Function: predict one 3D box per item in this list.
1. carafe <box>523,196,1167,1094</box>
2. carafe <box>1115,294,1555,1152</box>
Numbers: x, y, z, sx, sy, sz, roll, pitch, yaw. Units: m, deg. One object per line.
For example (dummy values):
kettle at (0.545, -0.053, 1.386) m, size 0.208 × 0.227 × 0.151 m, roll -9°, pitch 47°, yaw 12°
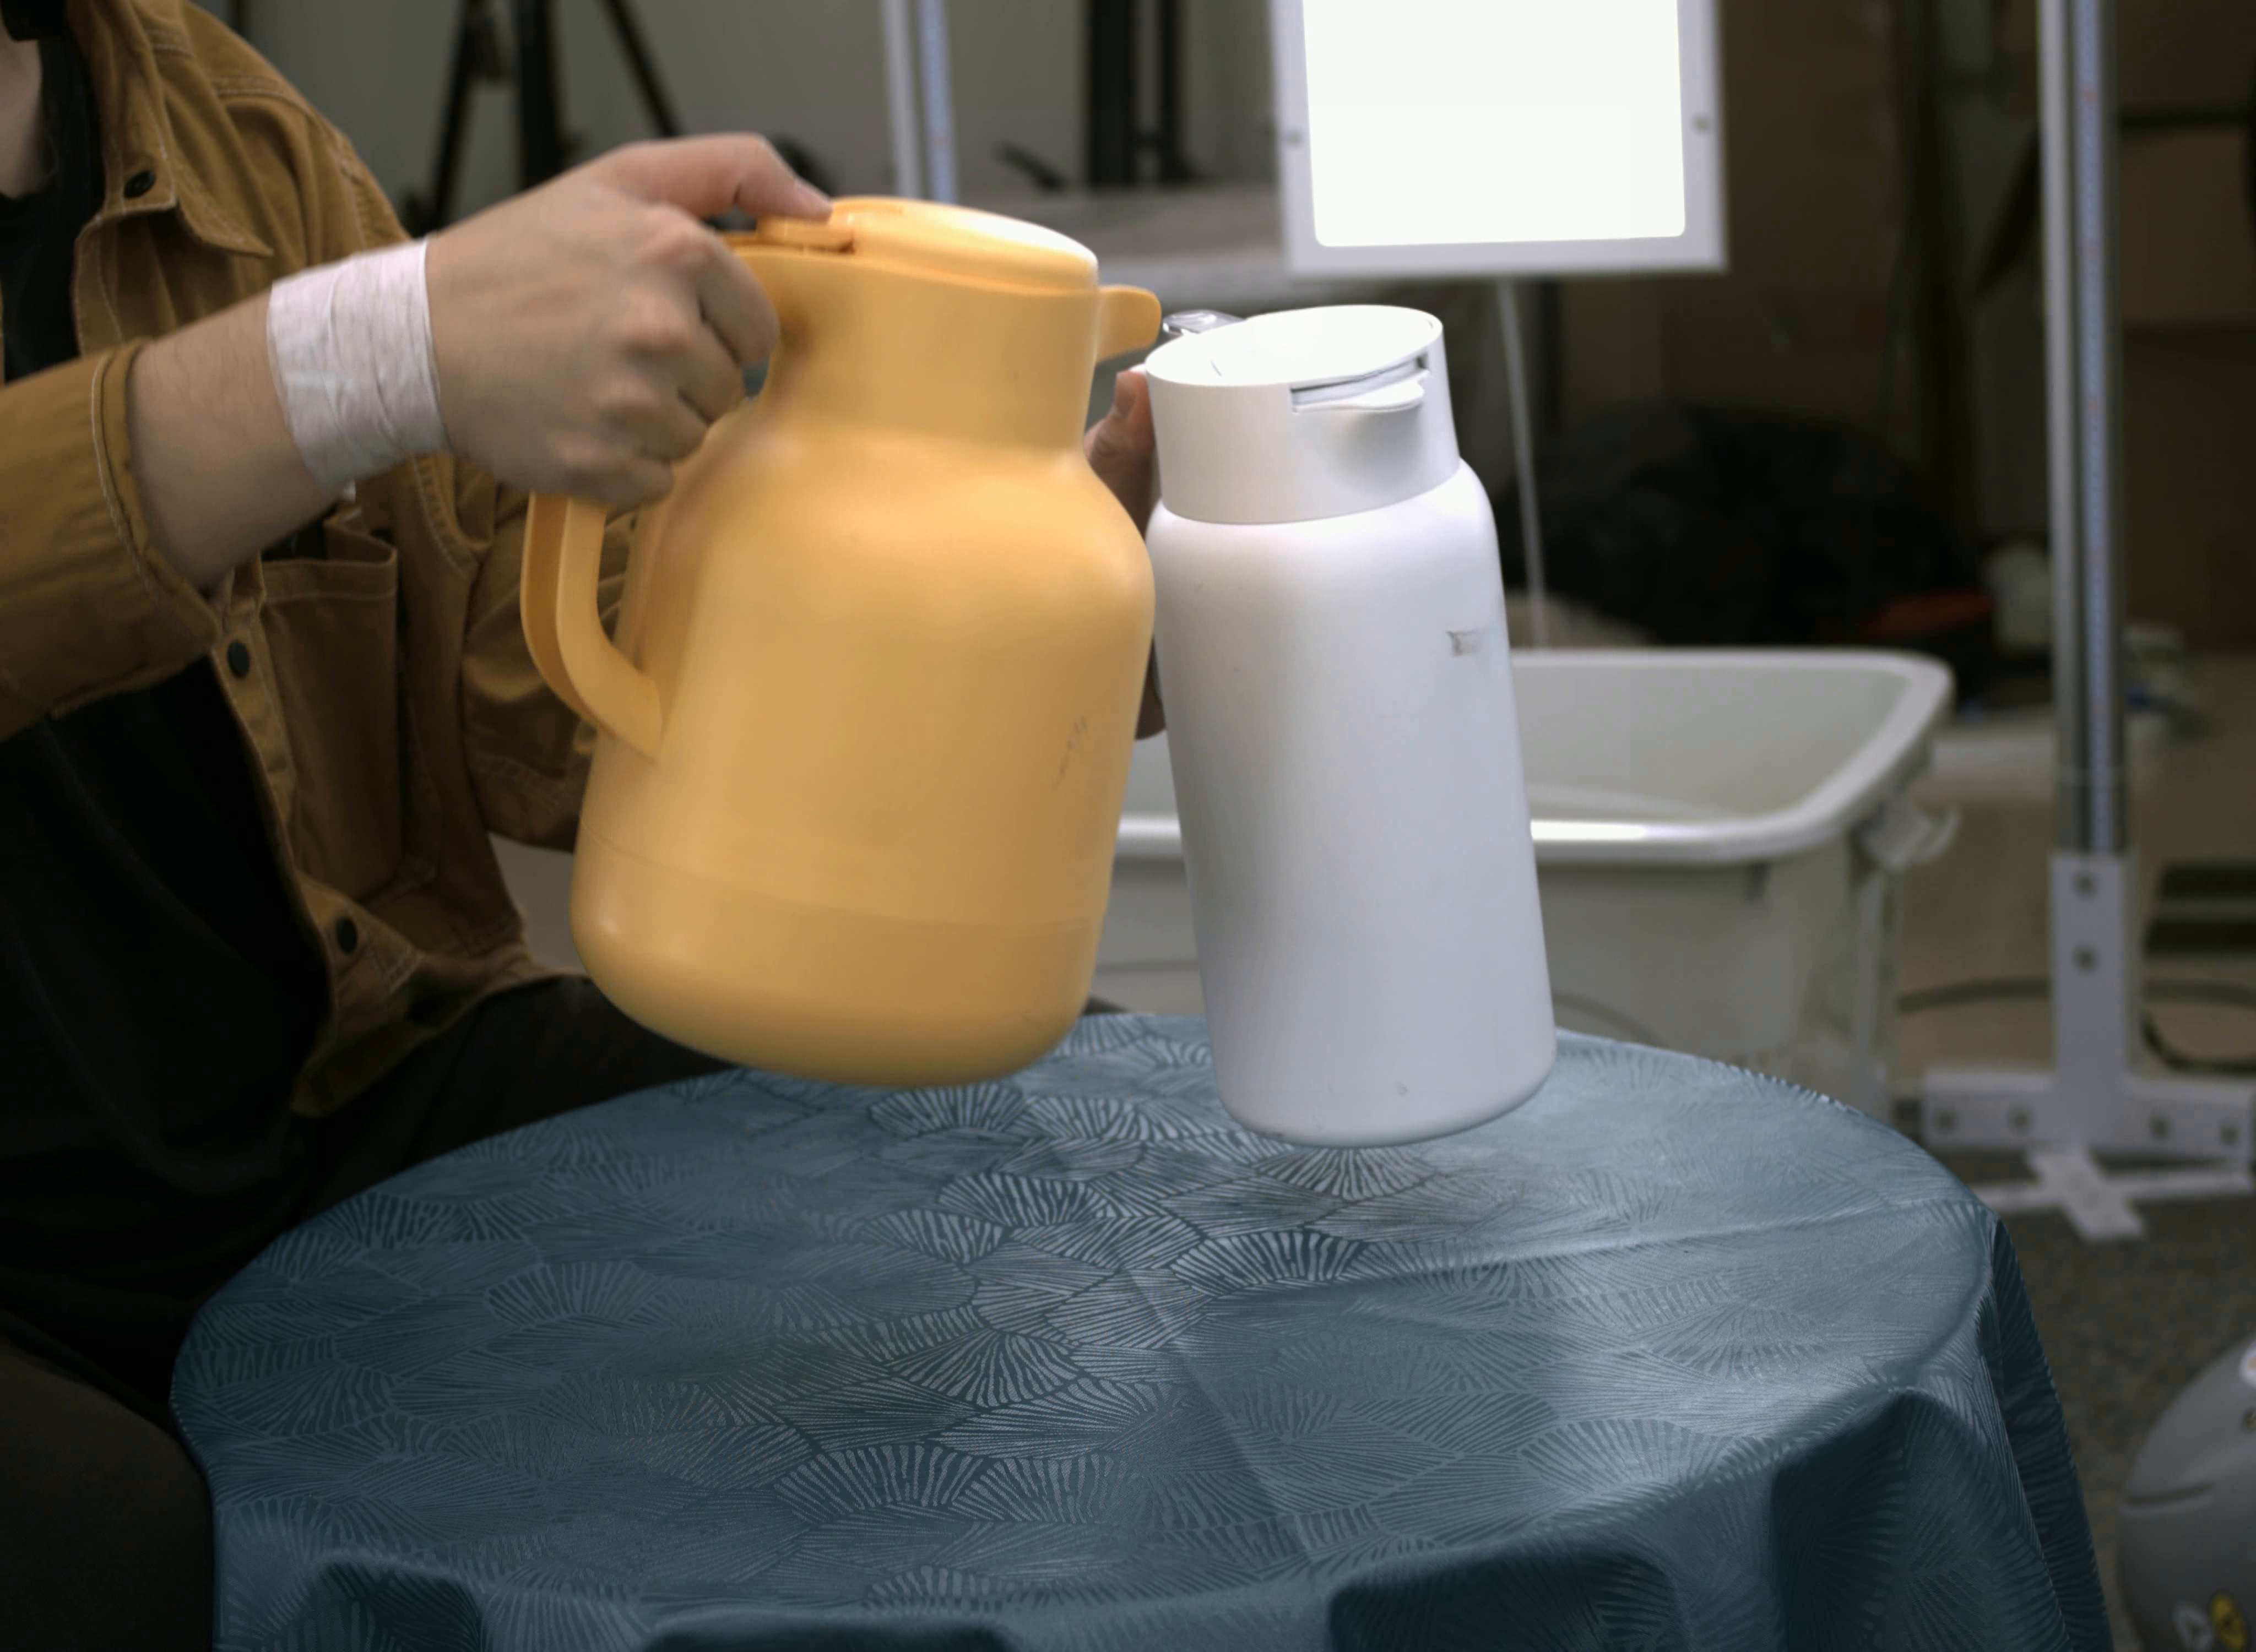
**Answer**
carafe at (-0.090, -0.059, 1.657) m, size 0.198 × 0.262 × 0.166 m, roll 5°, pitch 10°, yaw -30°
carafe at (0.061, -0.037, 1.841) m, size 0.121 × 0.269 × 0.176 m, roll -20°, pitch 21°, yaw -26°
